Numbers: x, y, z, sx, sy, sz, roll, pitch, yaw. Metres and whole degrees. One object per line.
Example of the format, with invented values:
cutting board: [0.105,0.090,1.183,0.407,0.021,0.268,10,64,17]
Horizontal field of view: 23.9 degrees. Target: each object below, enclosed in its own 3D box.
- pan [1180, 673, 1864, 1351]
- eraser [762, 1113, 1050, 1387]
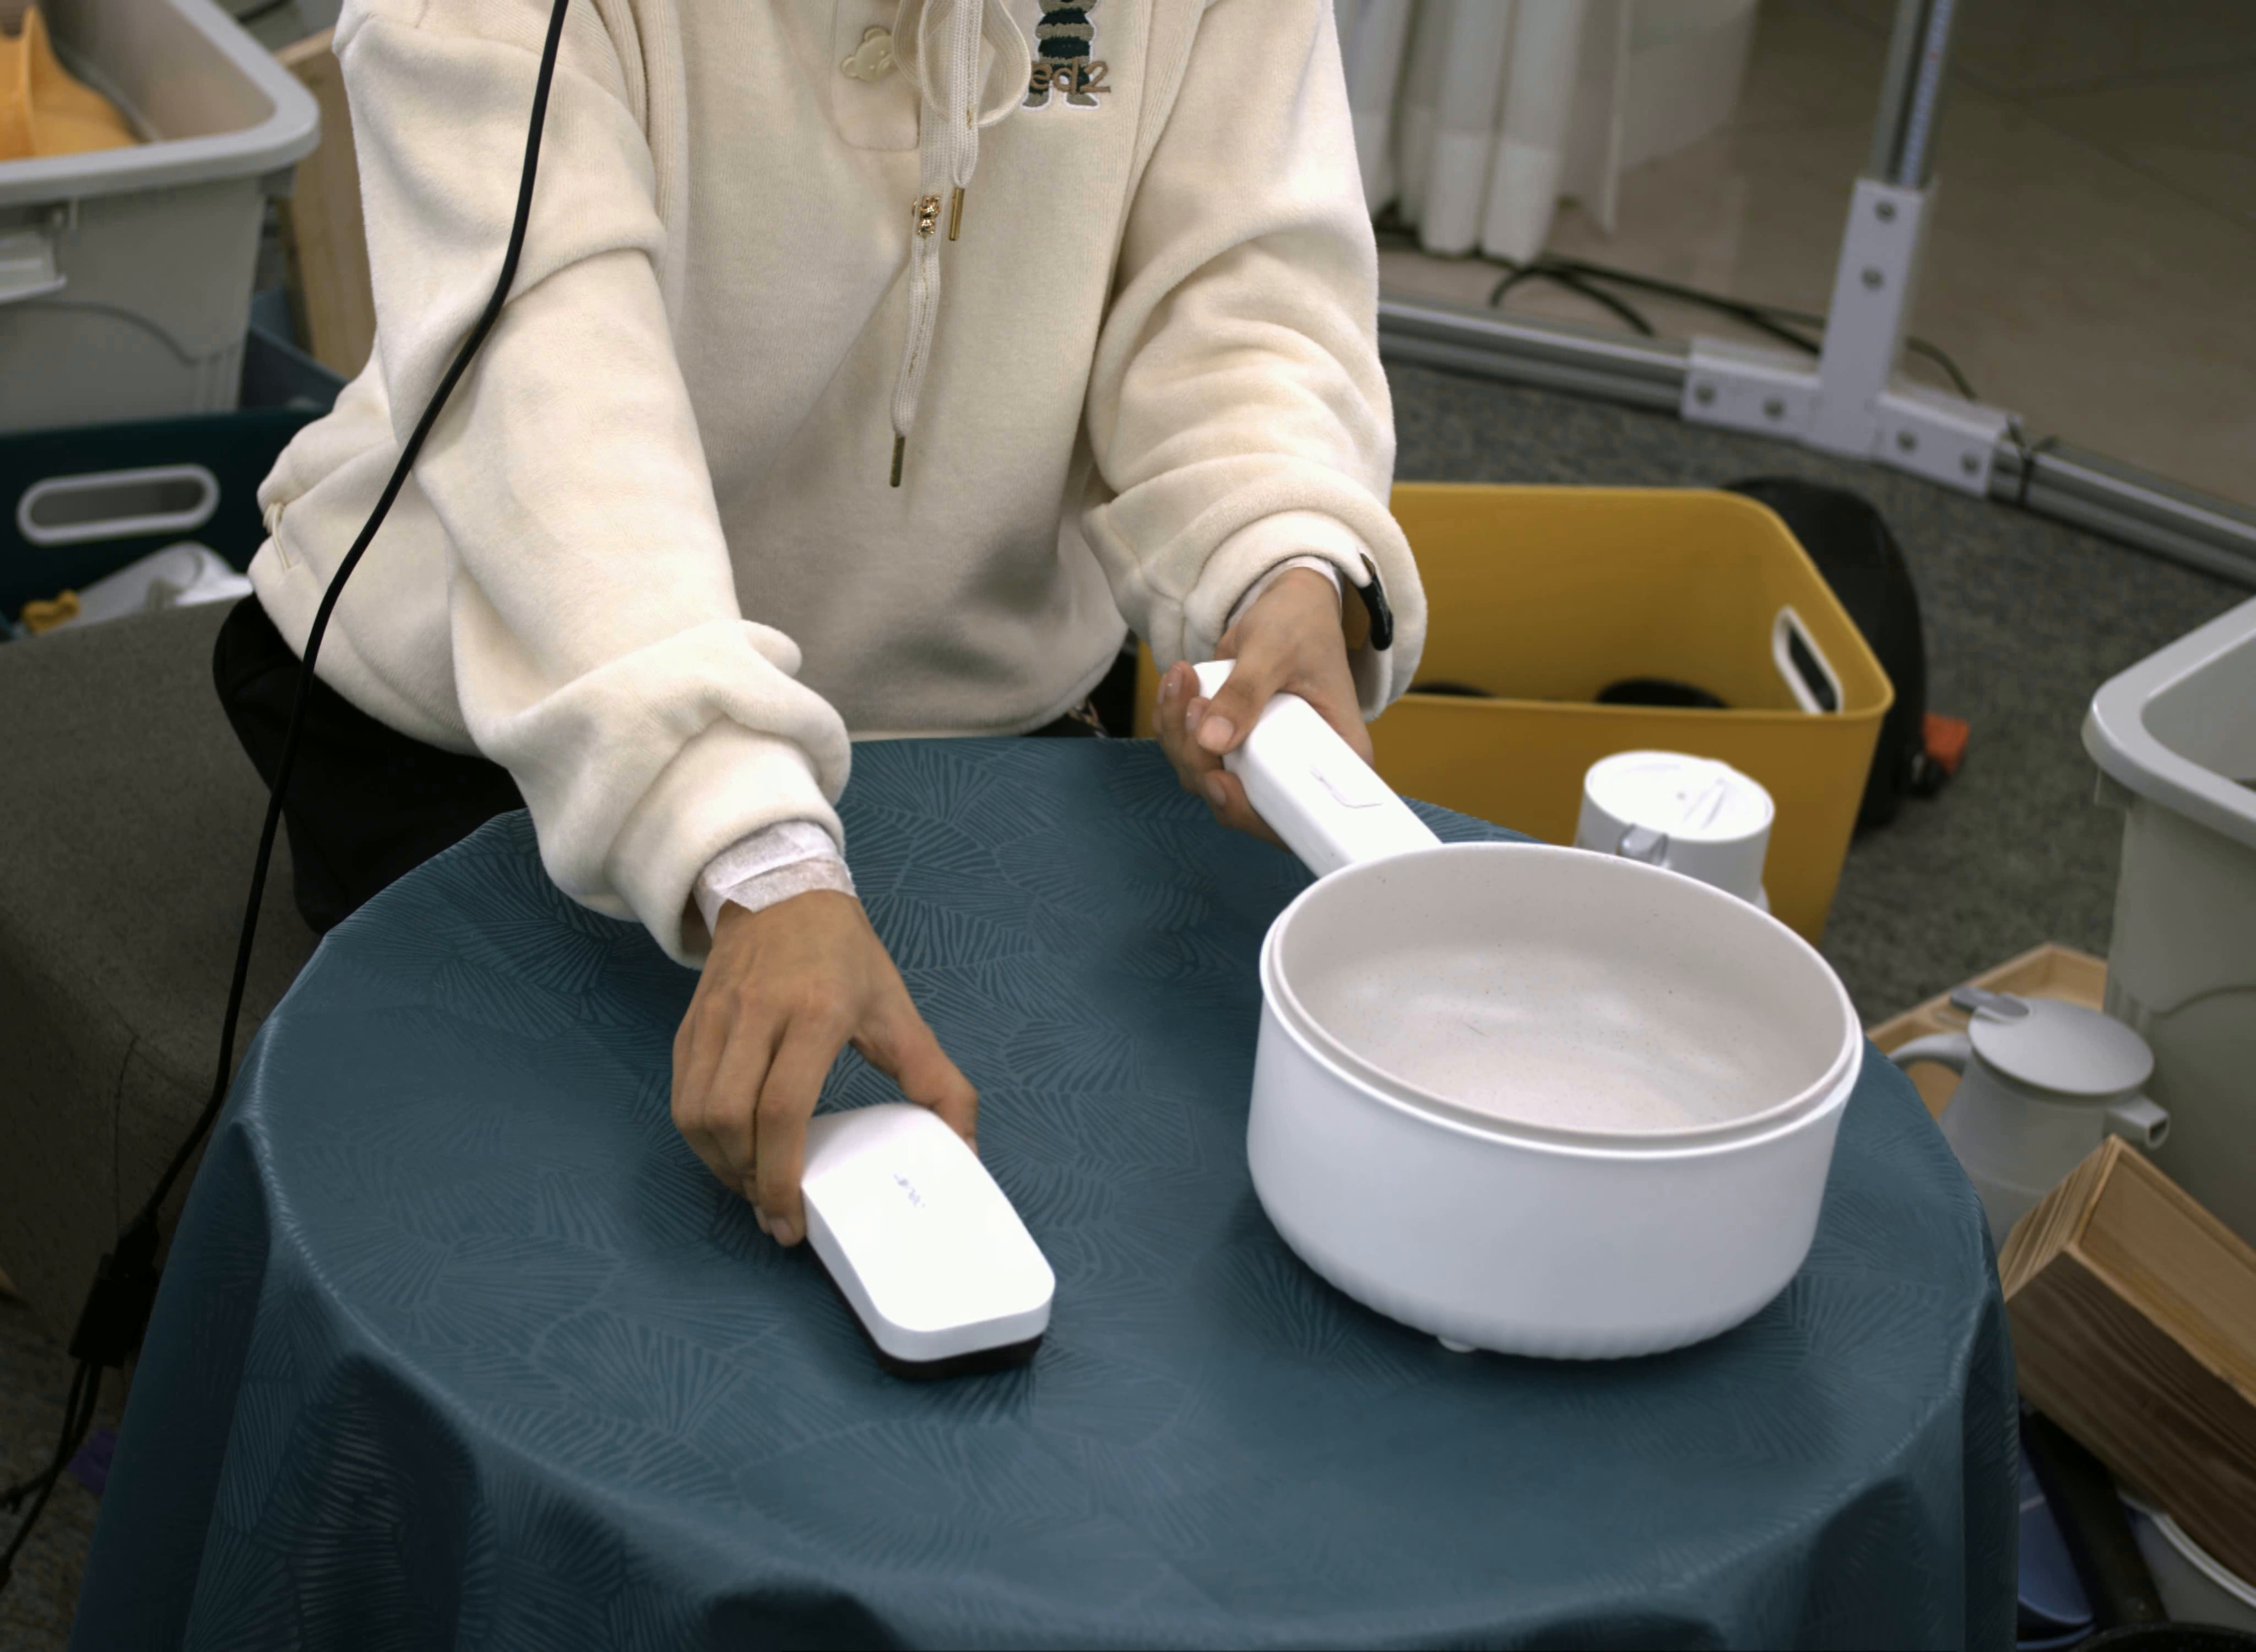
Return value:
pan: [0.106,0.061,1.837,0.200,0.102,0.358,-5,27,-25]
eraser: [-0.073,0.134,1.730,0.063,0.034,0.132,-6,30,-22]
